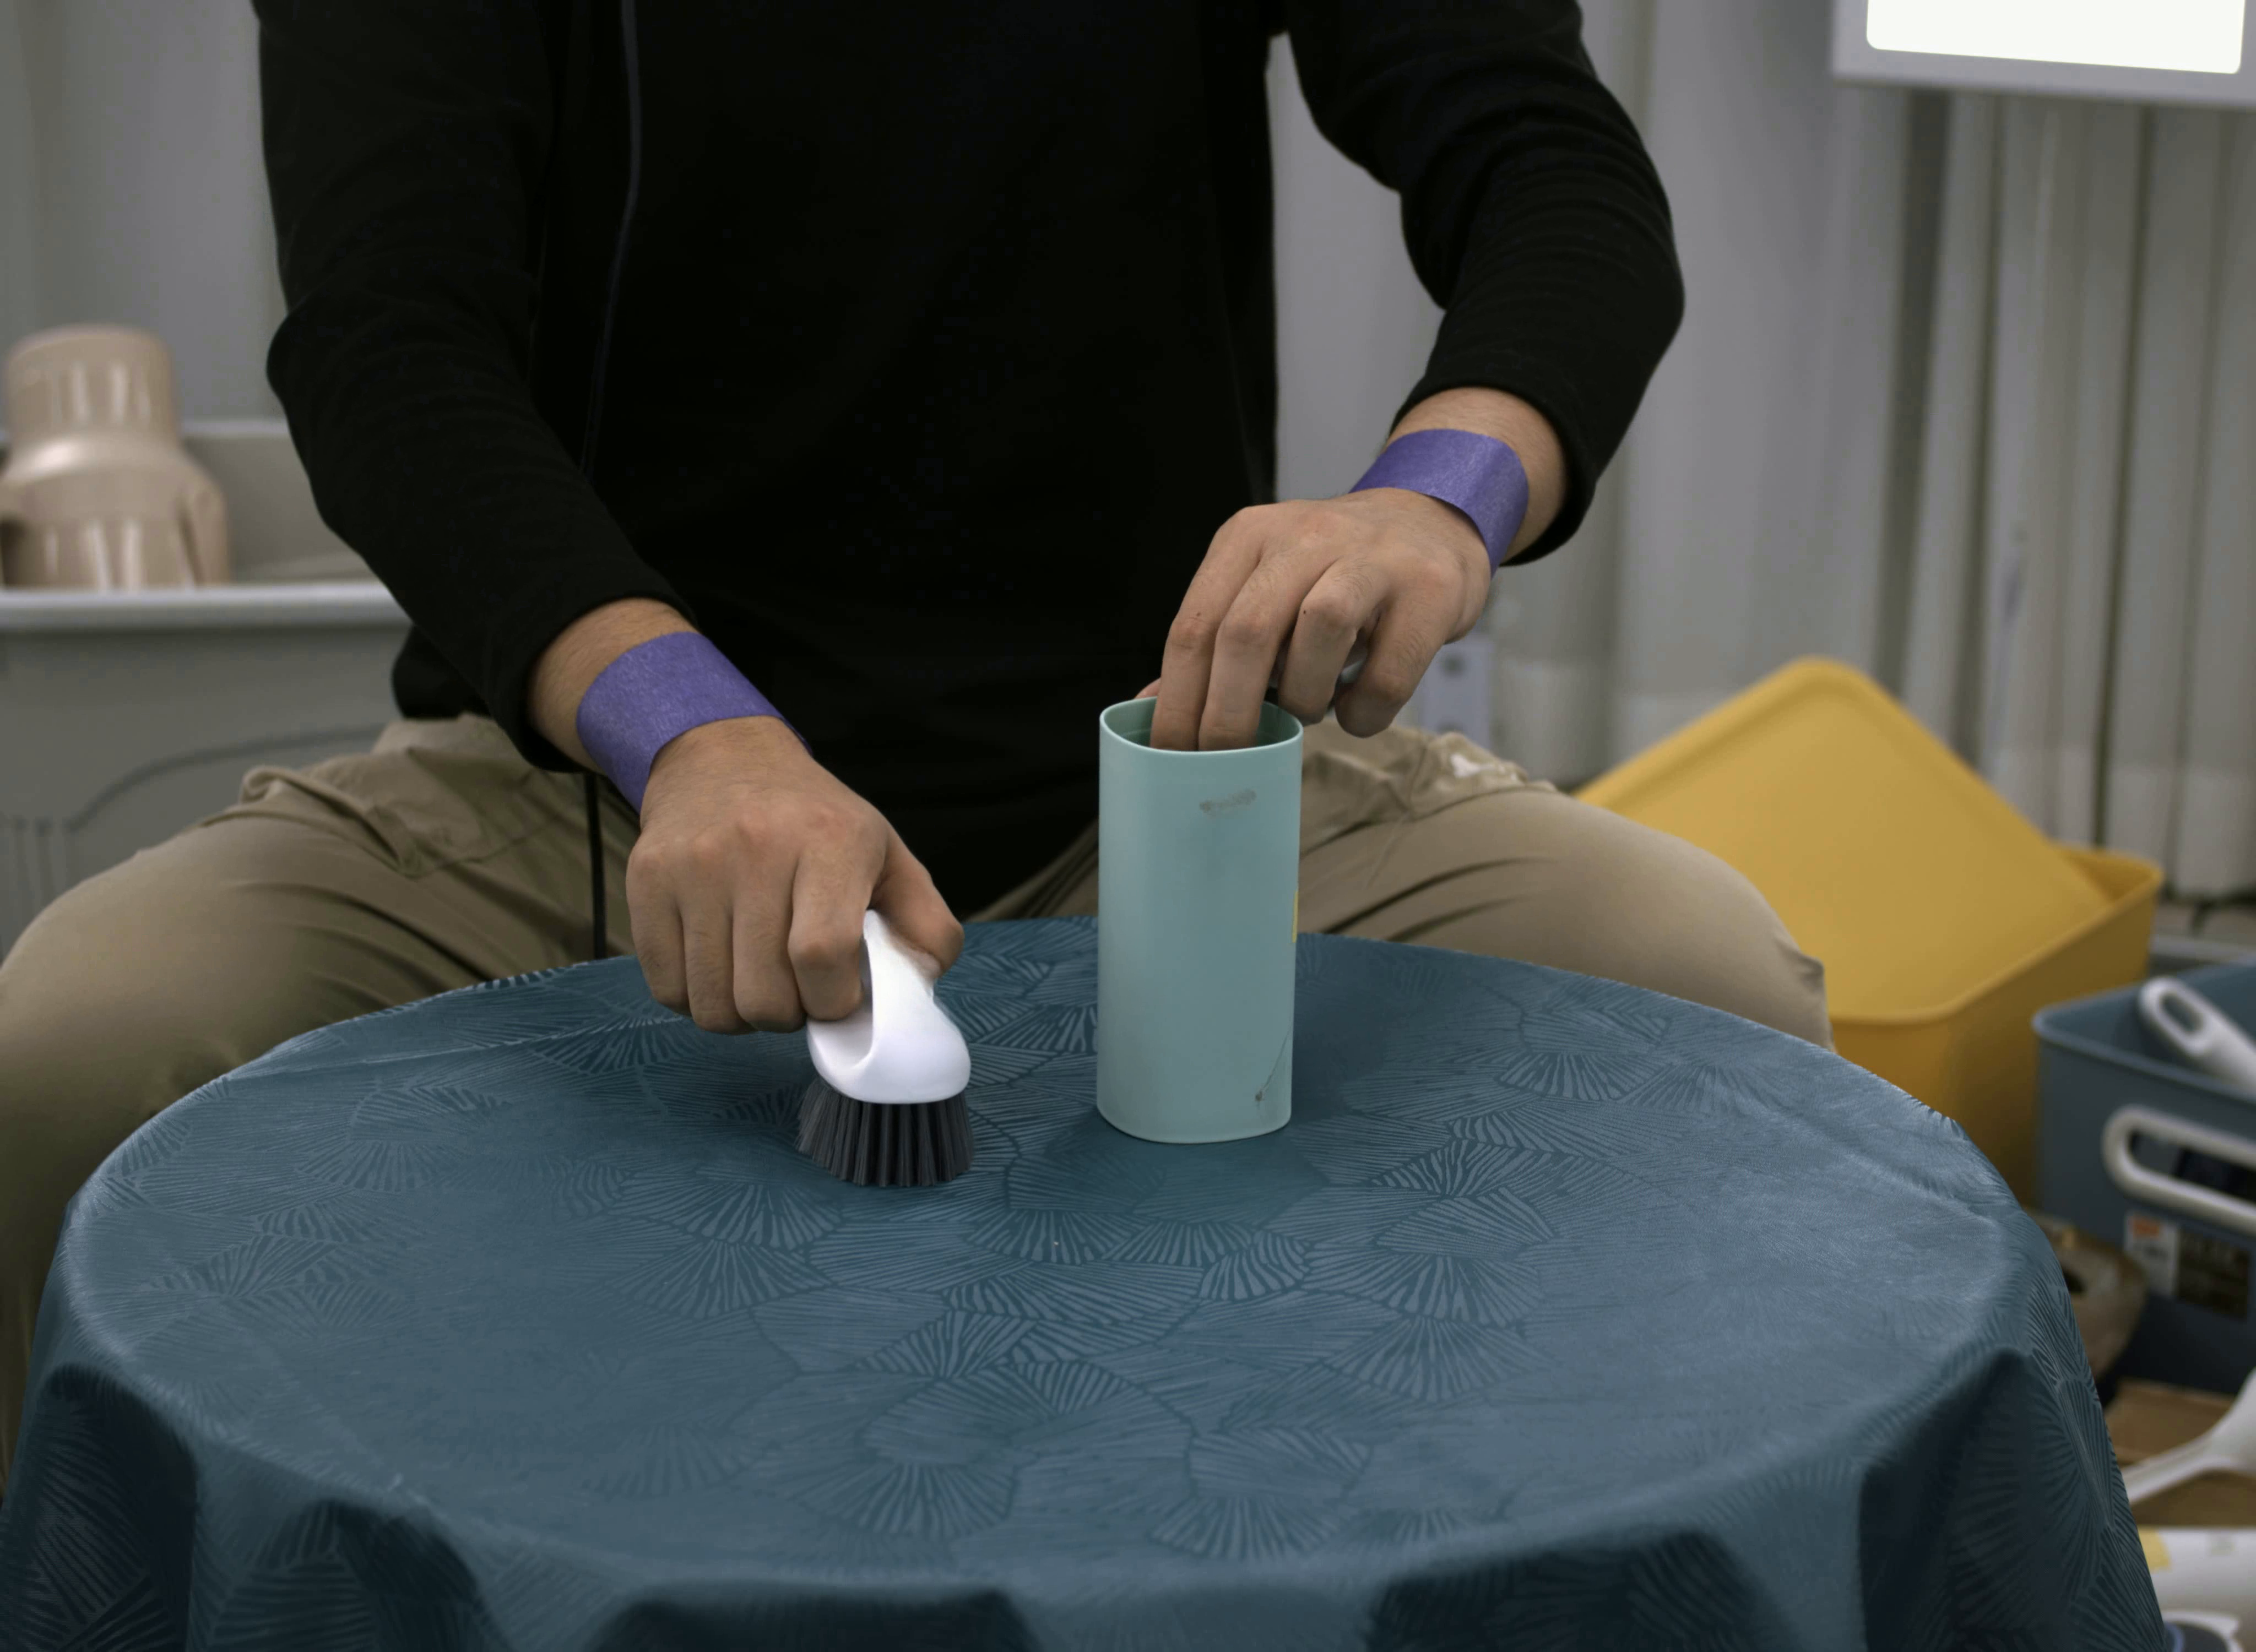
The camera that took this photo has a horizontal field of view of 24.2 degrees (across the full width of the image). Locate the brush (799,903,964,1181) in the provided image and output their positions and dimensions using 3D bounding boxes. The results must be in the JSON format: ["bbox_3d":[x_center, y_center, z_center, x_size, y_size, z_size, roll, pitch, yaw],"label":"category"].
[{"bbox_3d":[-0.078,0.063,1.658,0.050,0.073,0.098,-1,17,-8],"label":"brush"}]

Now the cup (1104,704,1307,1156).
[{"bbox_3d":[0.022,0.033,1.675,0.066,0.133,0.066,1,19,0],"label":"cup"}]
